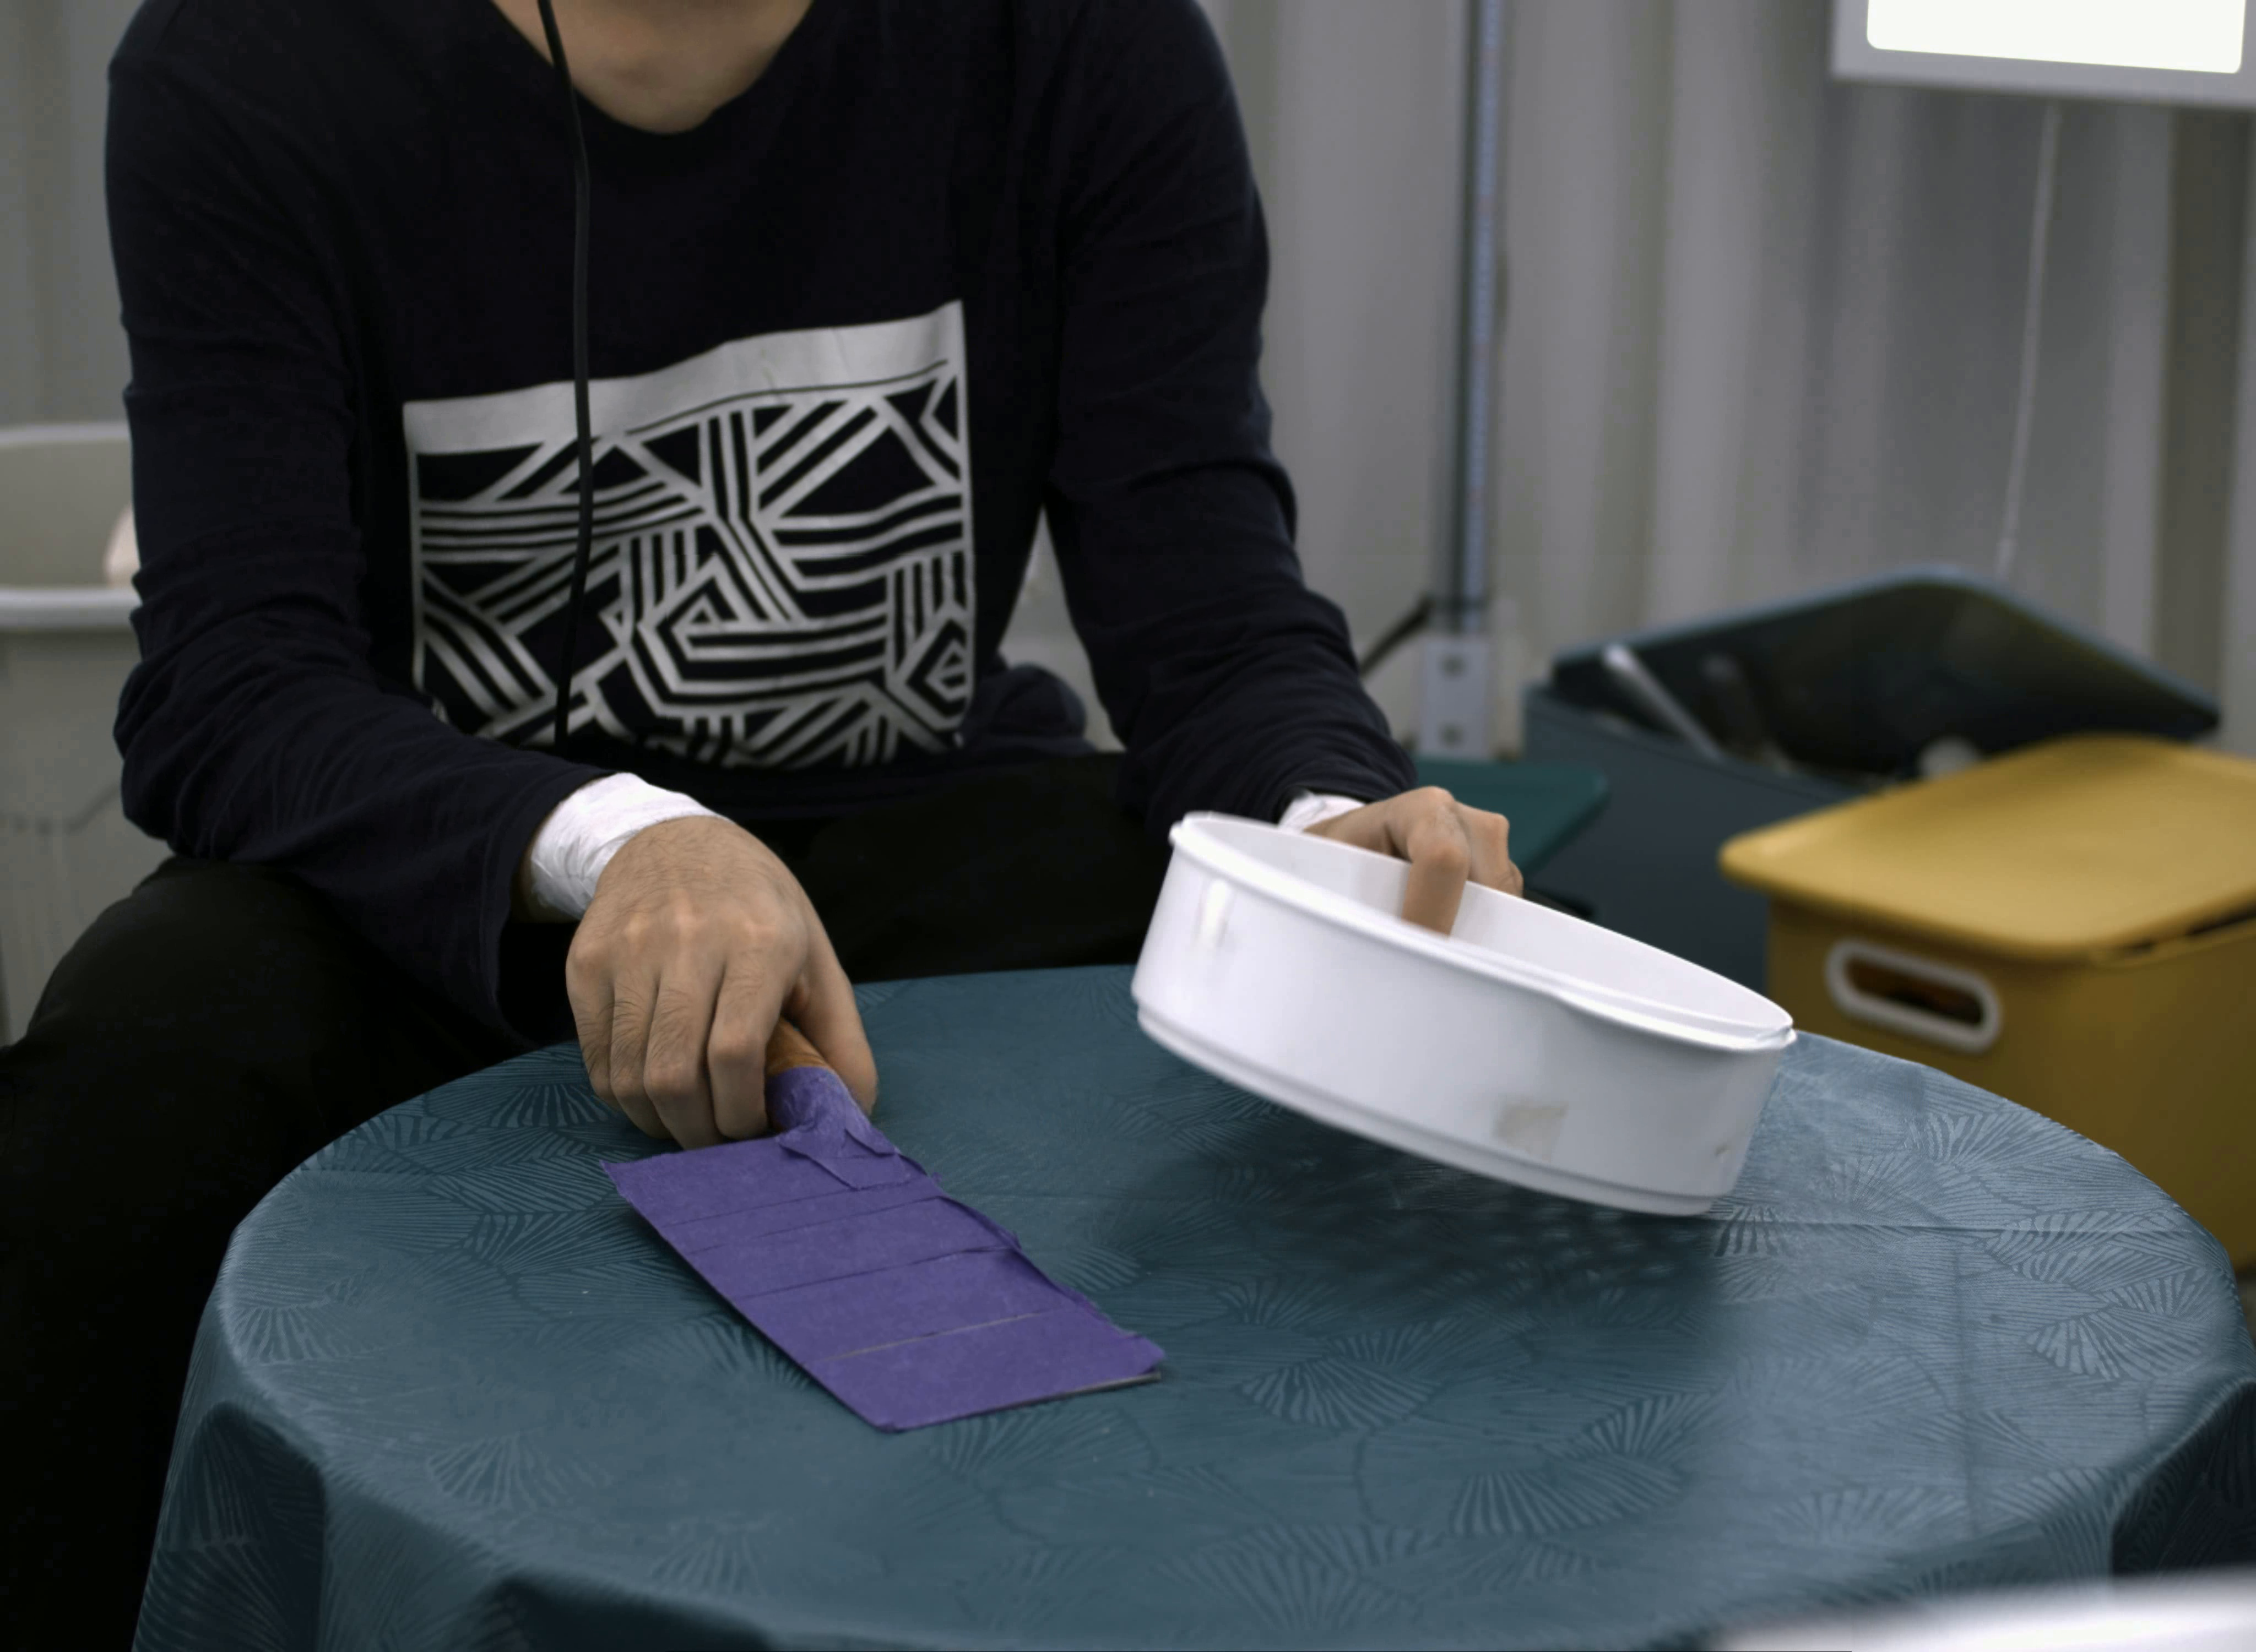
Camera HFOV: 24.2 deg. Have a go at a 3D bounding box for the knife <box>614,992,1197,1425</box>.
[{"bbox_3d":[-0.096,0.110,1.575,0.104,0.032,0.311,-7,18,-27],"label":"knife"}]

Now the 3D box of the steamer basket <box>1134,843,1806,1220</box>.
[{"bbox_3d":[0.101,0.064,1.597,0.203,0.069,0.228,13,4,-32],"label":"steamer basket"}]
